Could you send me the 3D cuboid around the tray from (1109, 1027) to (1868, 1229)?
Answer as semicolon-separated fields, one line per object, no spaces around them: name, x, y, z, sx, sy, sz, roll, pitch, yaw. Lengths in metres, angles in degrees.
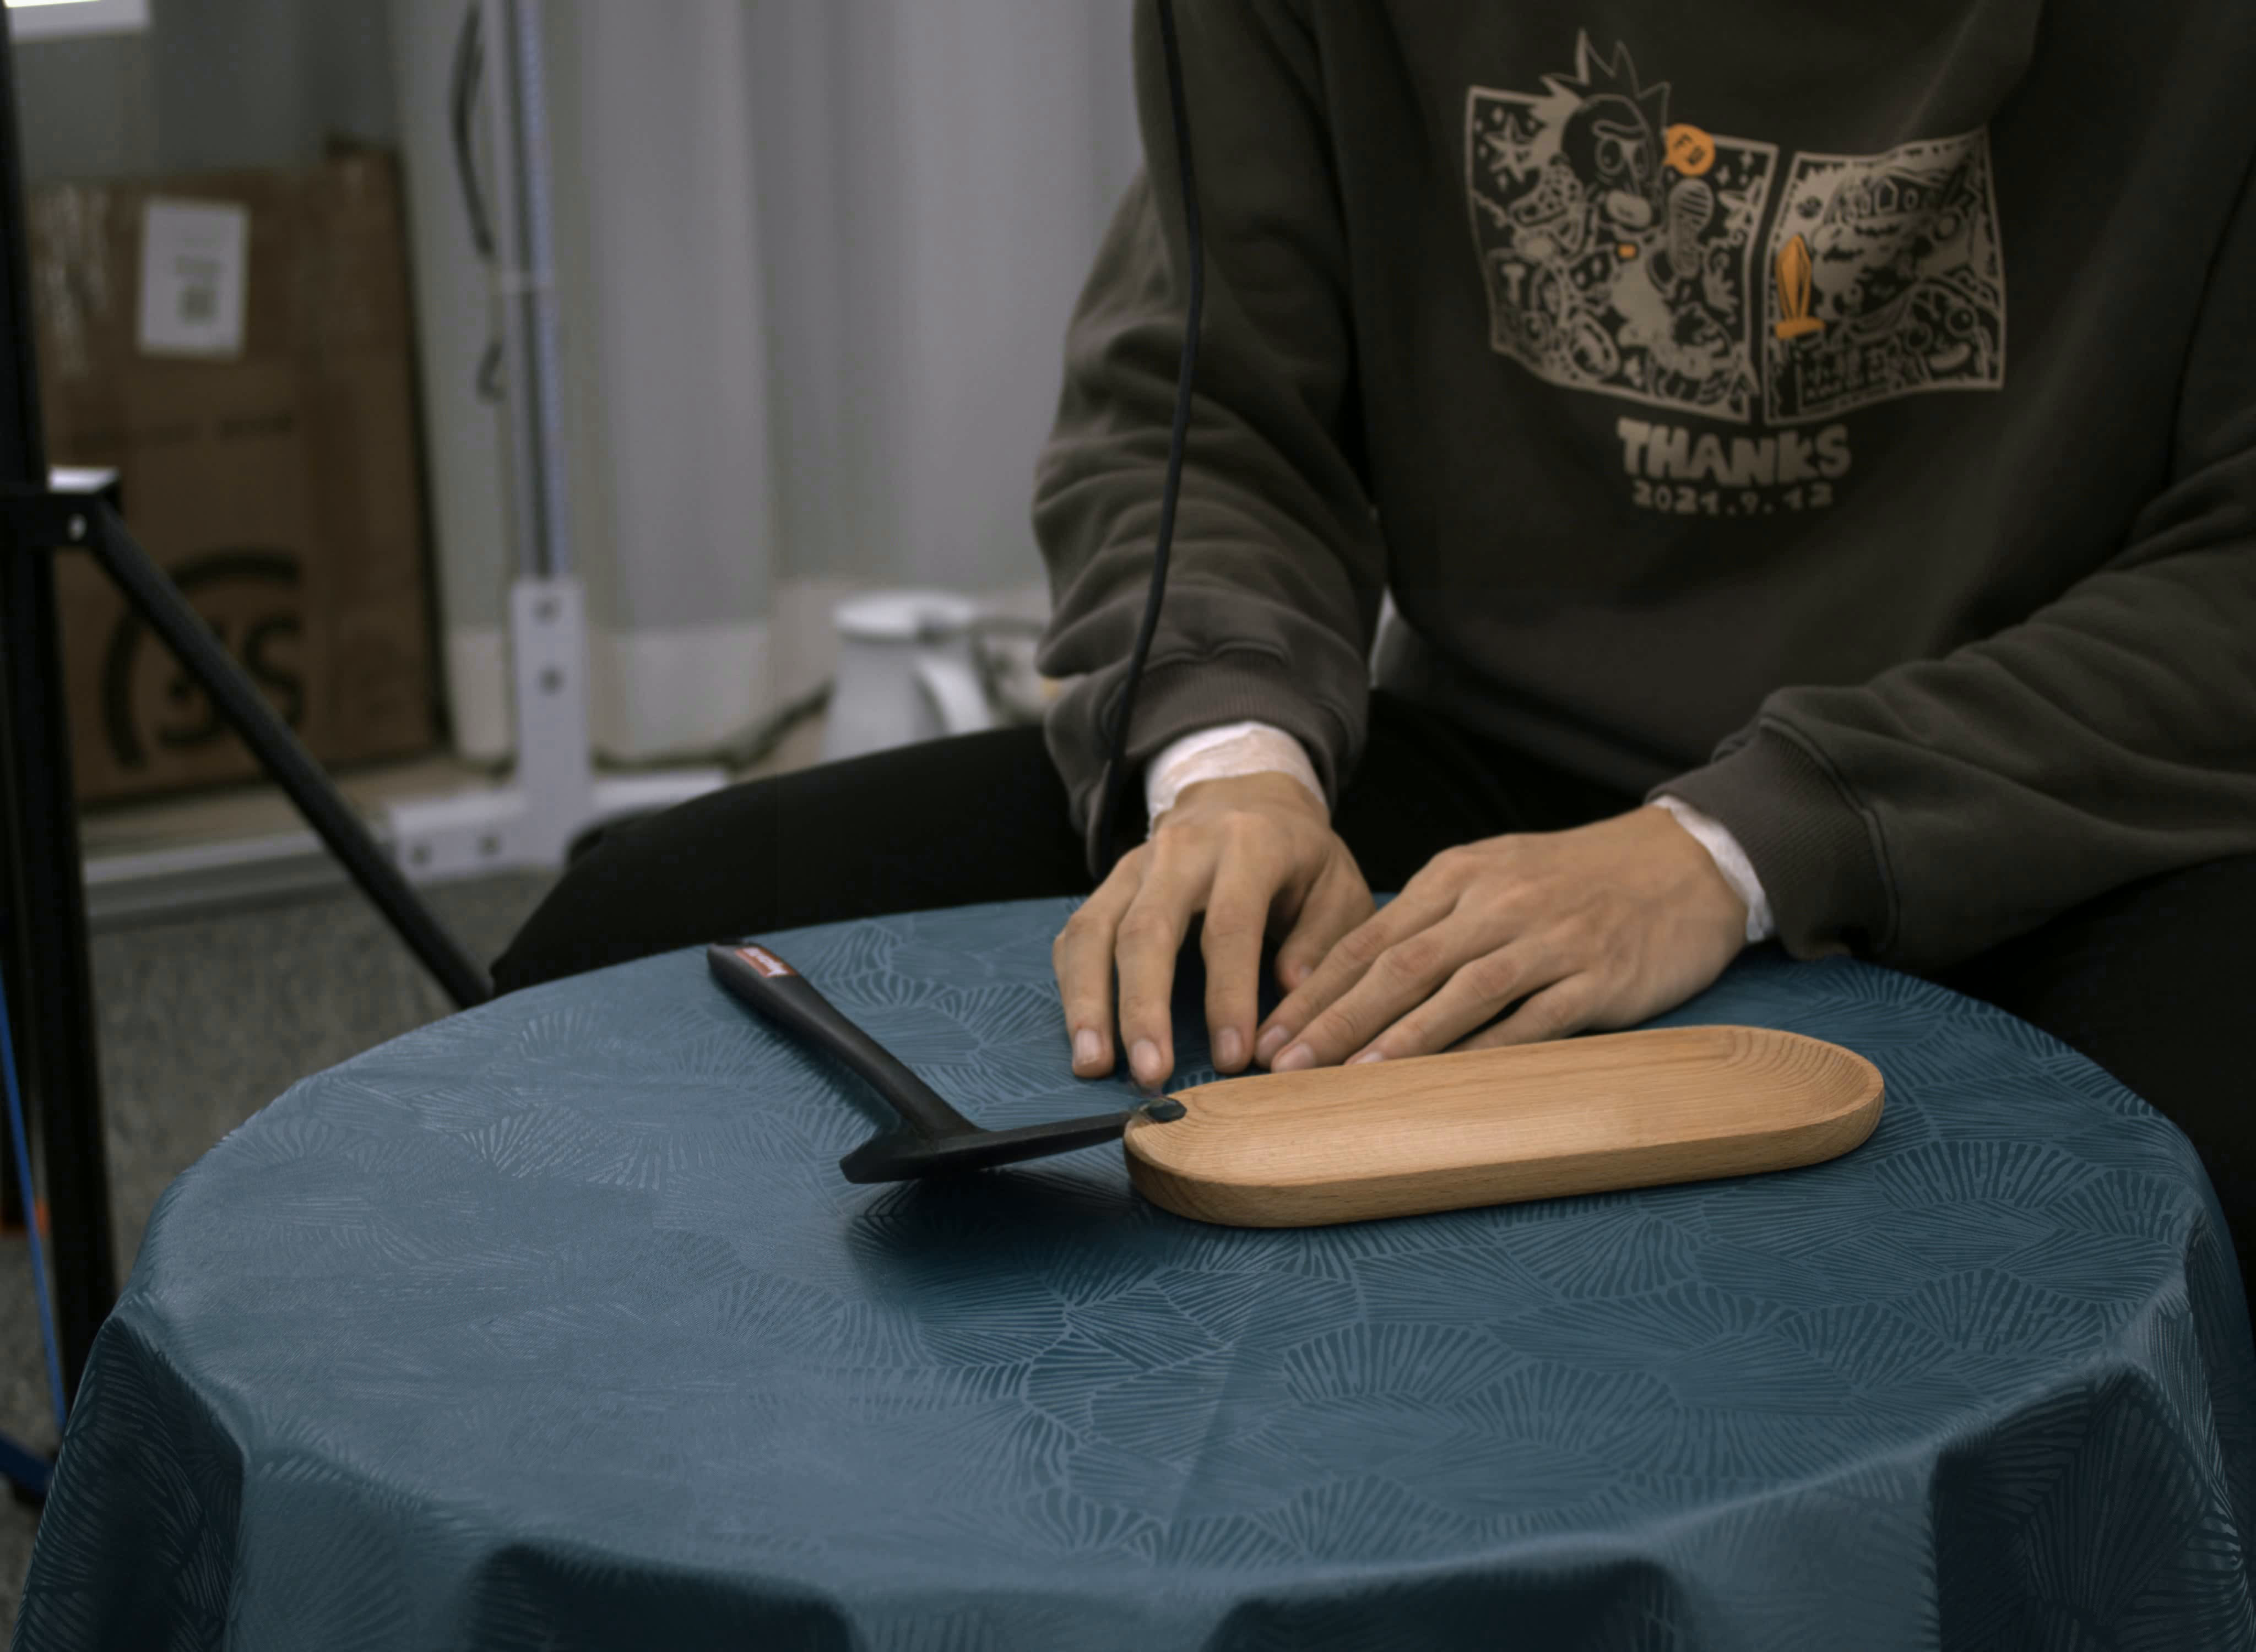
tray;0.108;0.090;1.577;0.228;0.020;0.103;-7;16;-10

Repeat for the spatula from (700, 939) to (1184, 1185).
spatula;-0.082;0.067;1.655;0.098;0.040;0.332;-7;16;-19
